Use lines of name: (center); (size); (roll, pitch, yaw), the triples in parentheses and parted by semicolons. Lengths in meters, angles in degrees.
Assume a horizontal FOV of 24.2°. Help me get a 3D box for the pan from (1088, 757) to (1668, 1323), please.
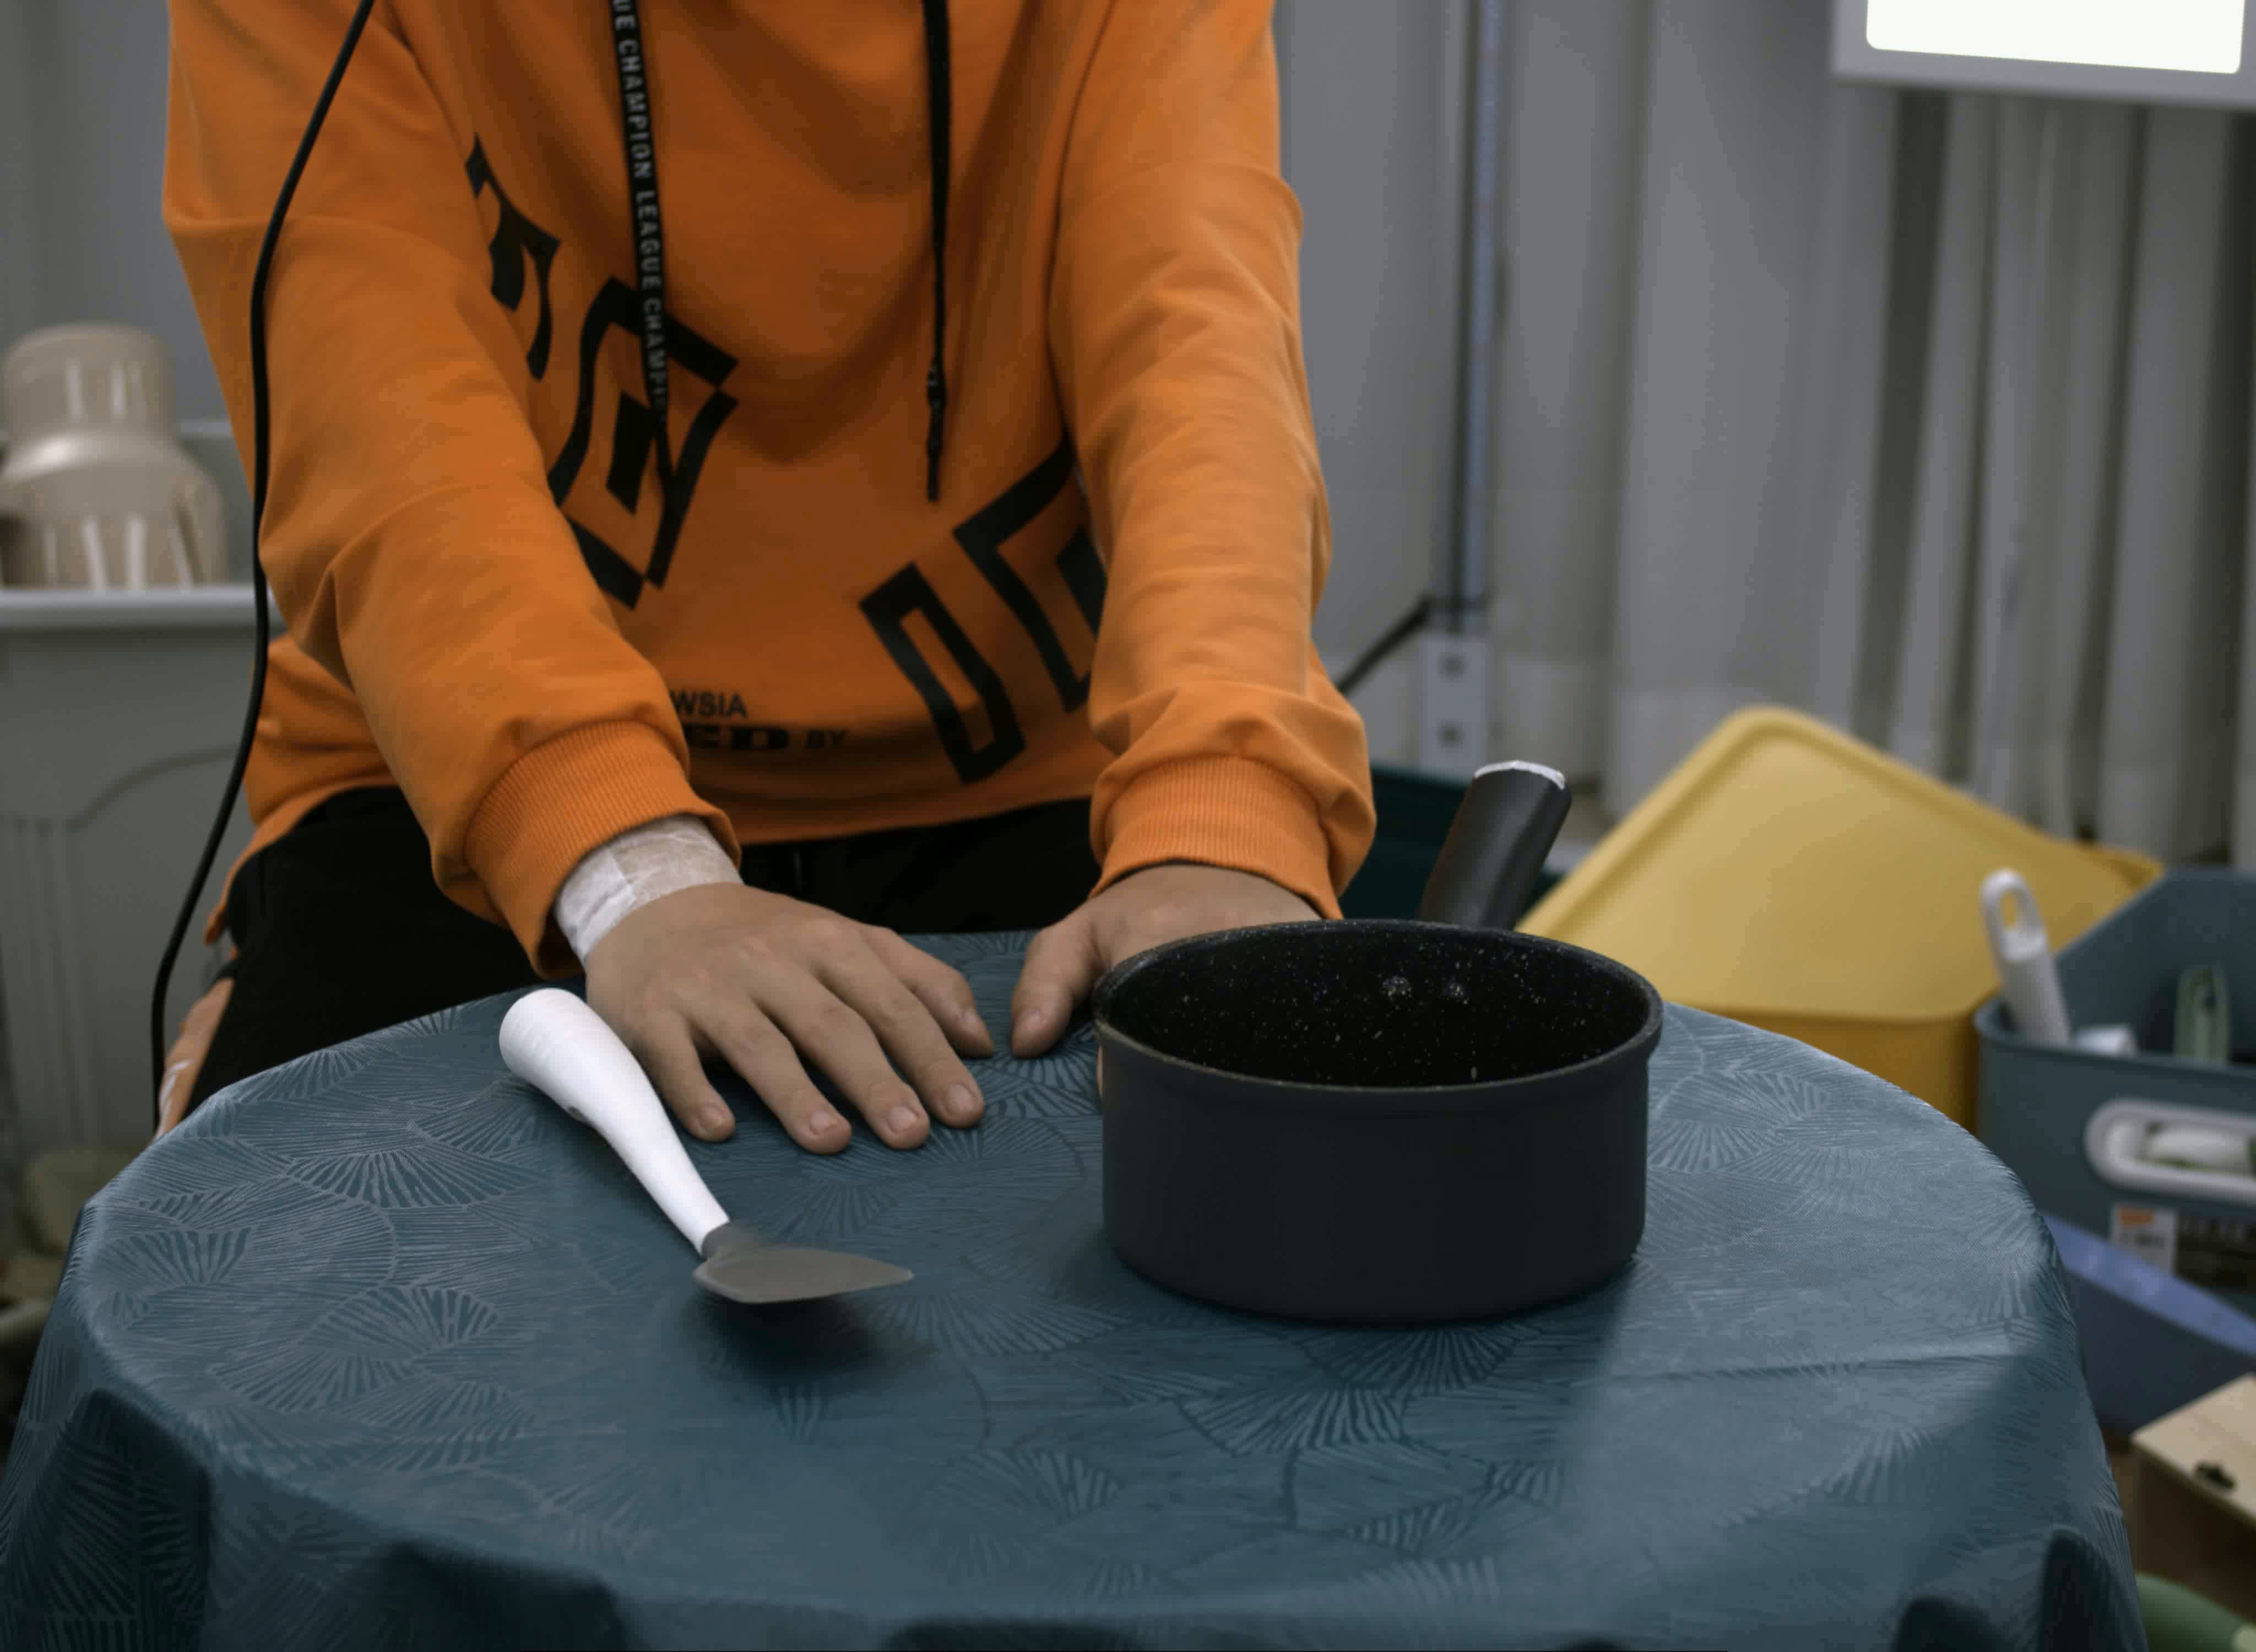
pan: (0.097, 0.062, 1.644); (0.170, 0.087, 0.328); (6, 18, 16)

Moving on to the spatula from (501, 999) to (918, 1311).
spatula: (-0.134, 0.105, 1.587); (0.059, 0.032, 0.284); (-3, 15, -23)
